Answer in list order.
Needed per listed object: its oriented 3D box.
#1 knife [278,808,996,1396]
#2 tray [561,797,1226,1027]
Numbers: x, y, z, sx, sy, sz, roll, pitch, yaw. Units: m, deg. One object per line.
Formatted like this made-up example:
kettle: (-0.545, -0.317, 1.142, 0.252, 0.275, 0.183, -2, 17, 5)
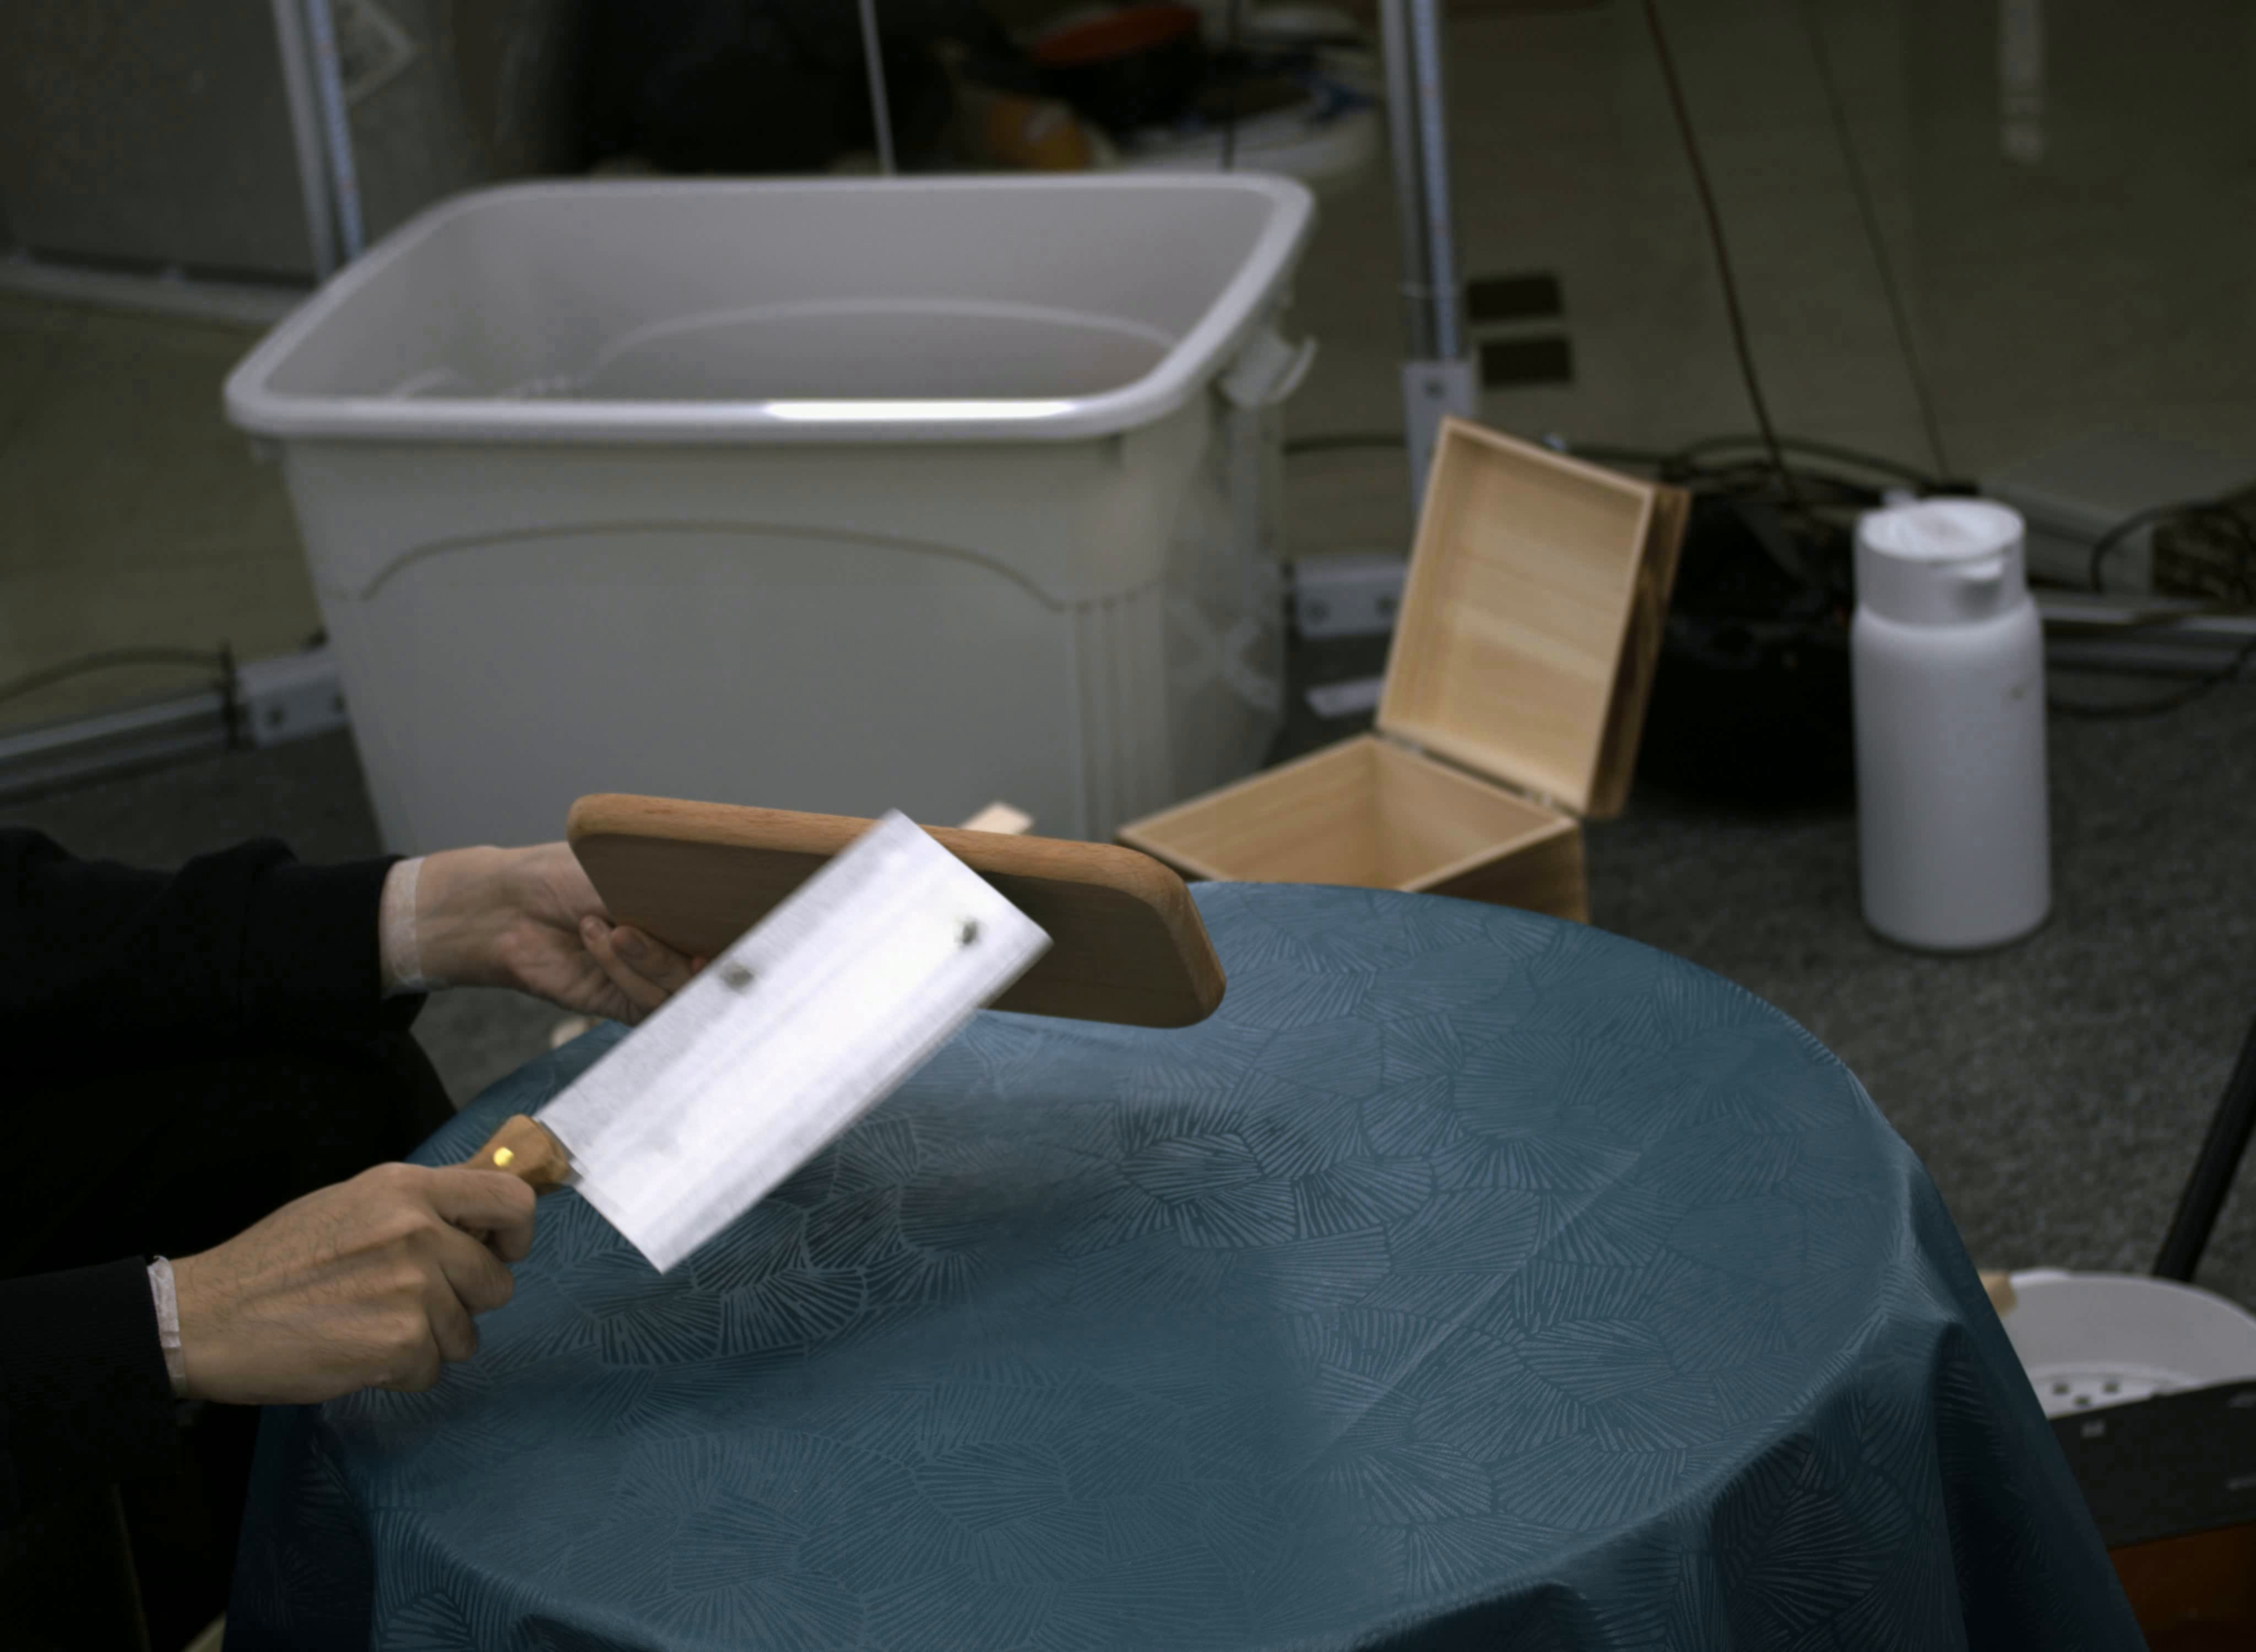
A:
knife: (-0.171, 0.110, 2.056, 0.304, 0.021, 0.092, -42, 58, -15)
tray: (-0.091, 0.034, 2.168, 0.250, 0.133, 0.022, 4, 59, 18)
